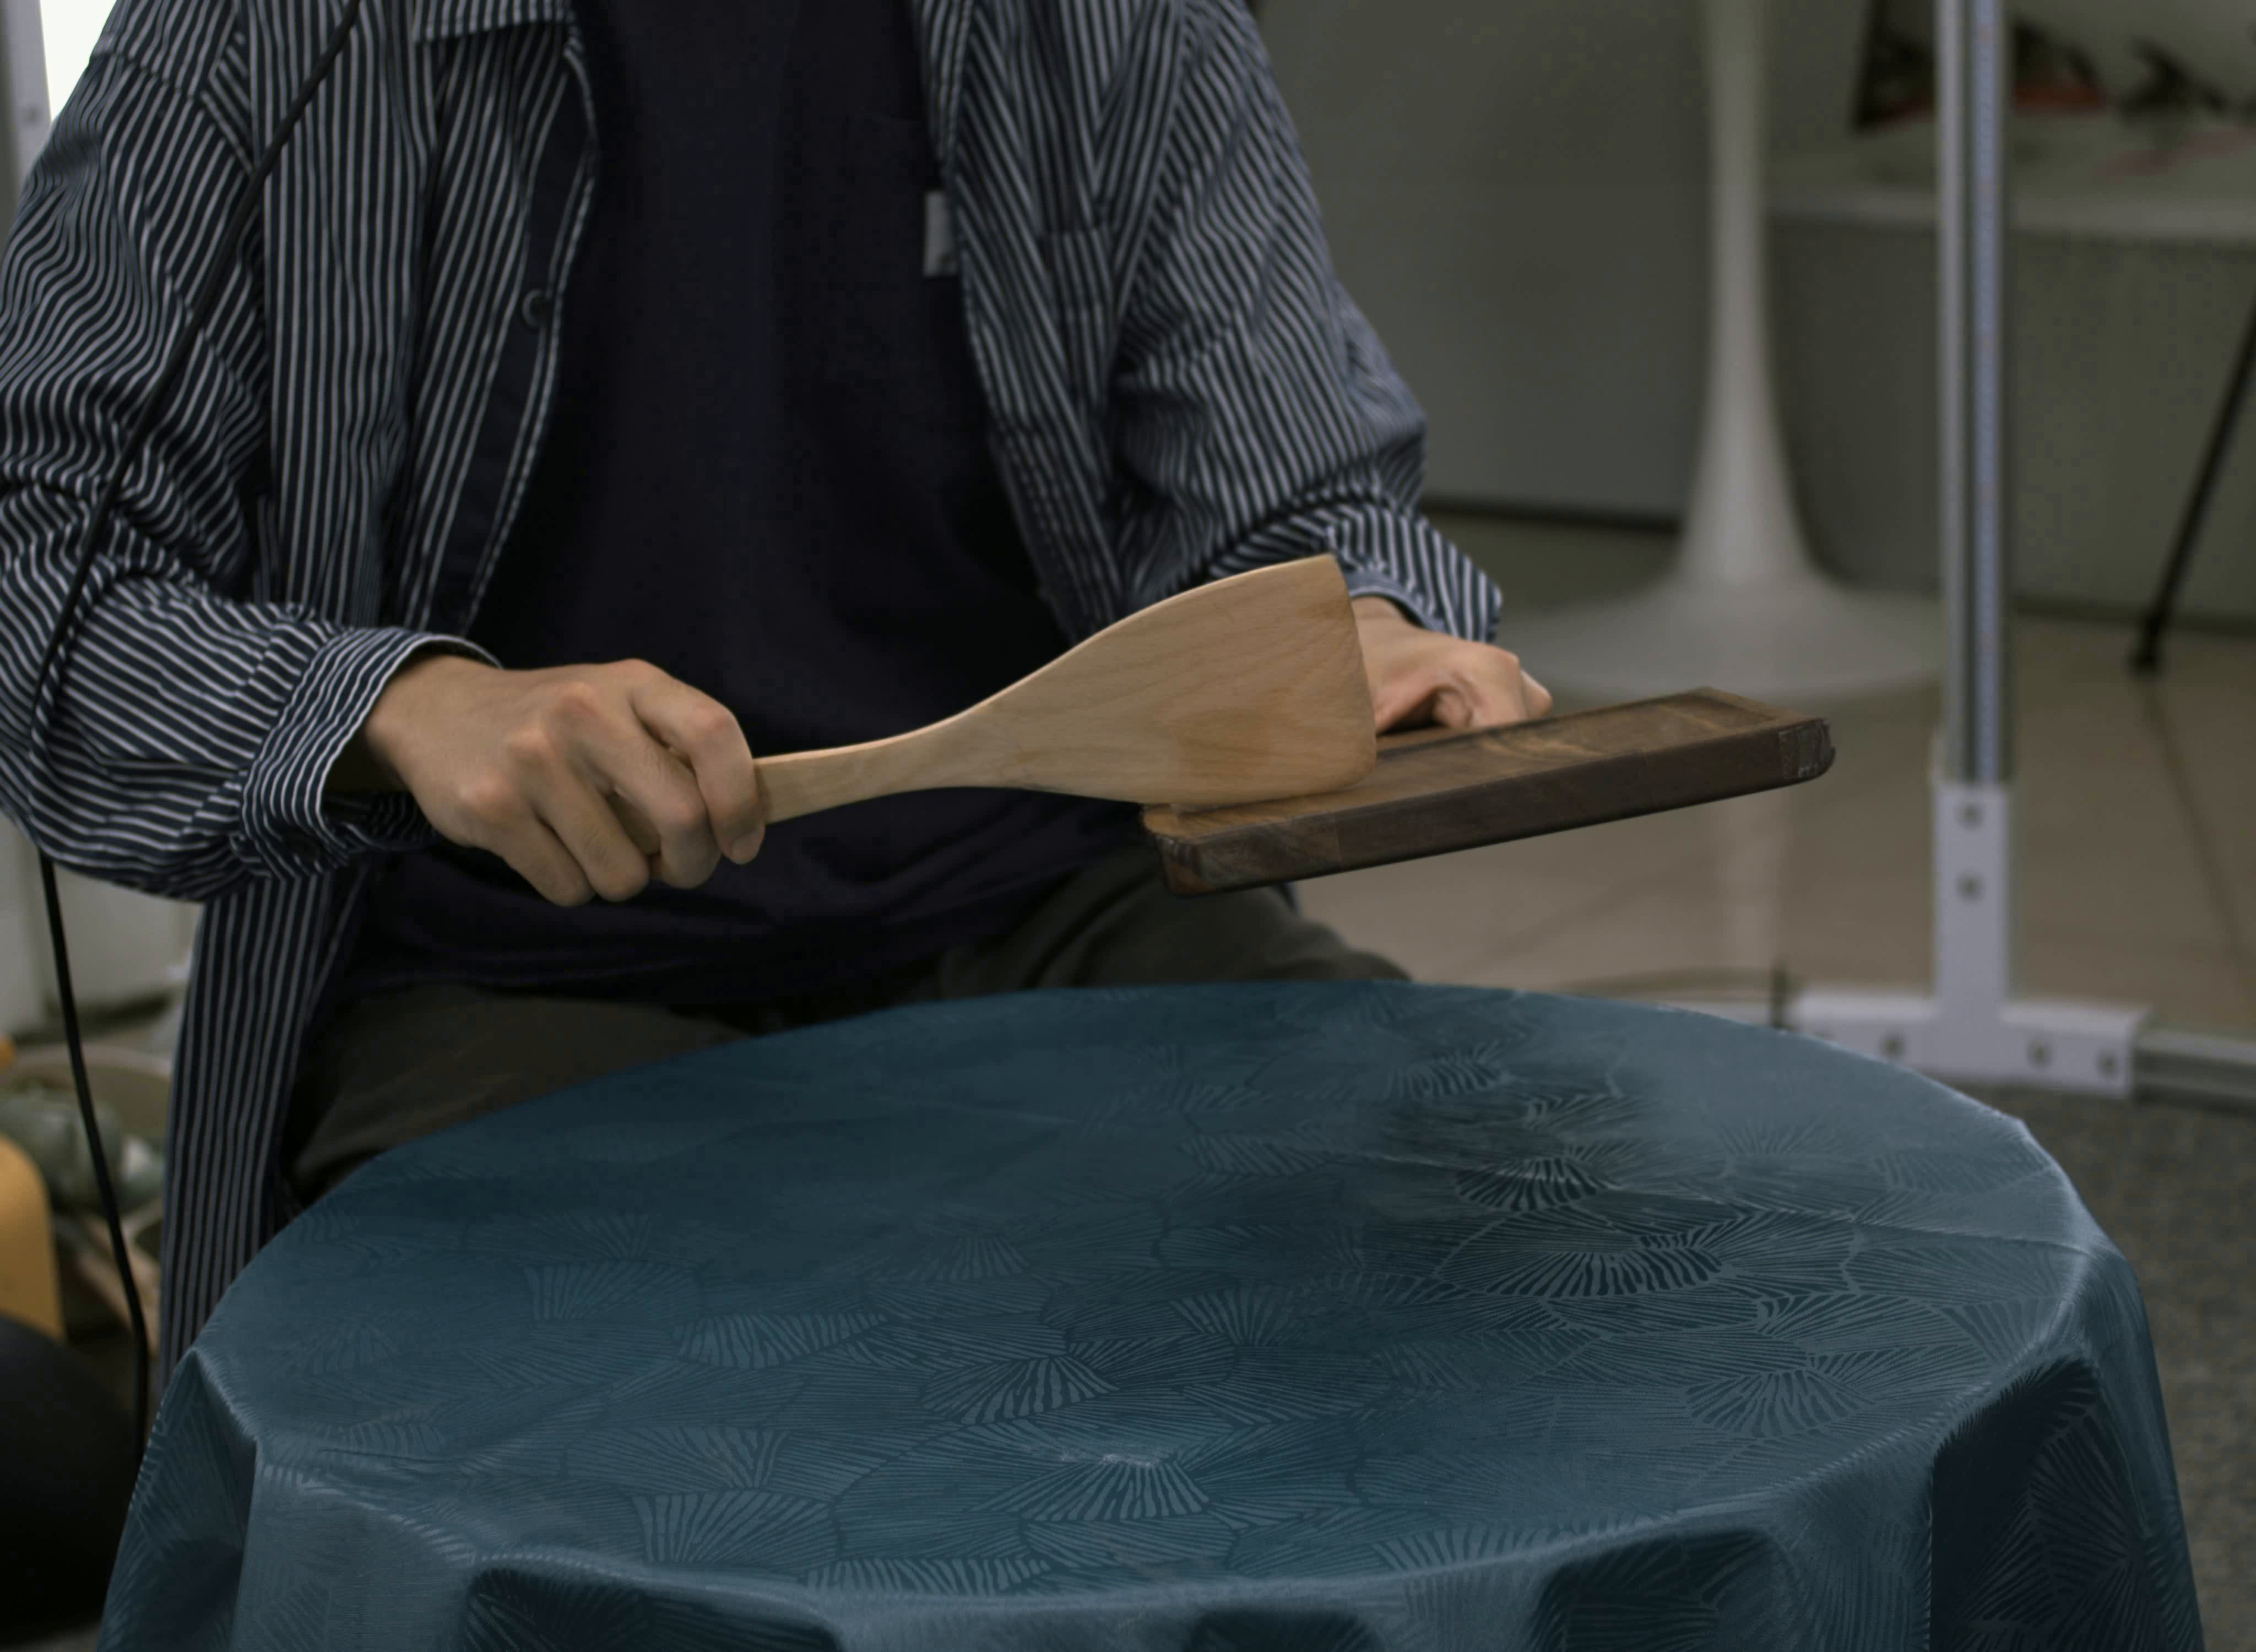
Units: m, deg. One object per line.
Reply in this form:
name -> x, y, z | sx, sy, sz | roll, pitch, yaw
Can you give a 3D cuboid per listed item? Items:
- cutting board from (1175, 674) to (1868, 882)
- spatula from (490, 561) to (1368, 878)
cutting board -> 0.114, -0.019, 1.721 | 0.198, 0.023, 0.352 | -11, 3, 0
spatula -> -0.069, -0.020, 1.741 | 0.328, 0.080, 0.016 | -10, 22, 29
